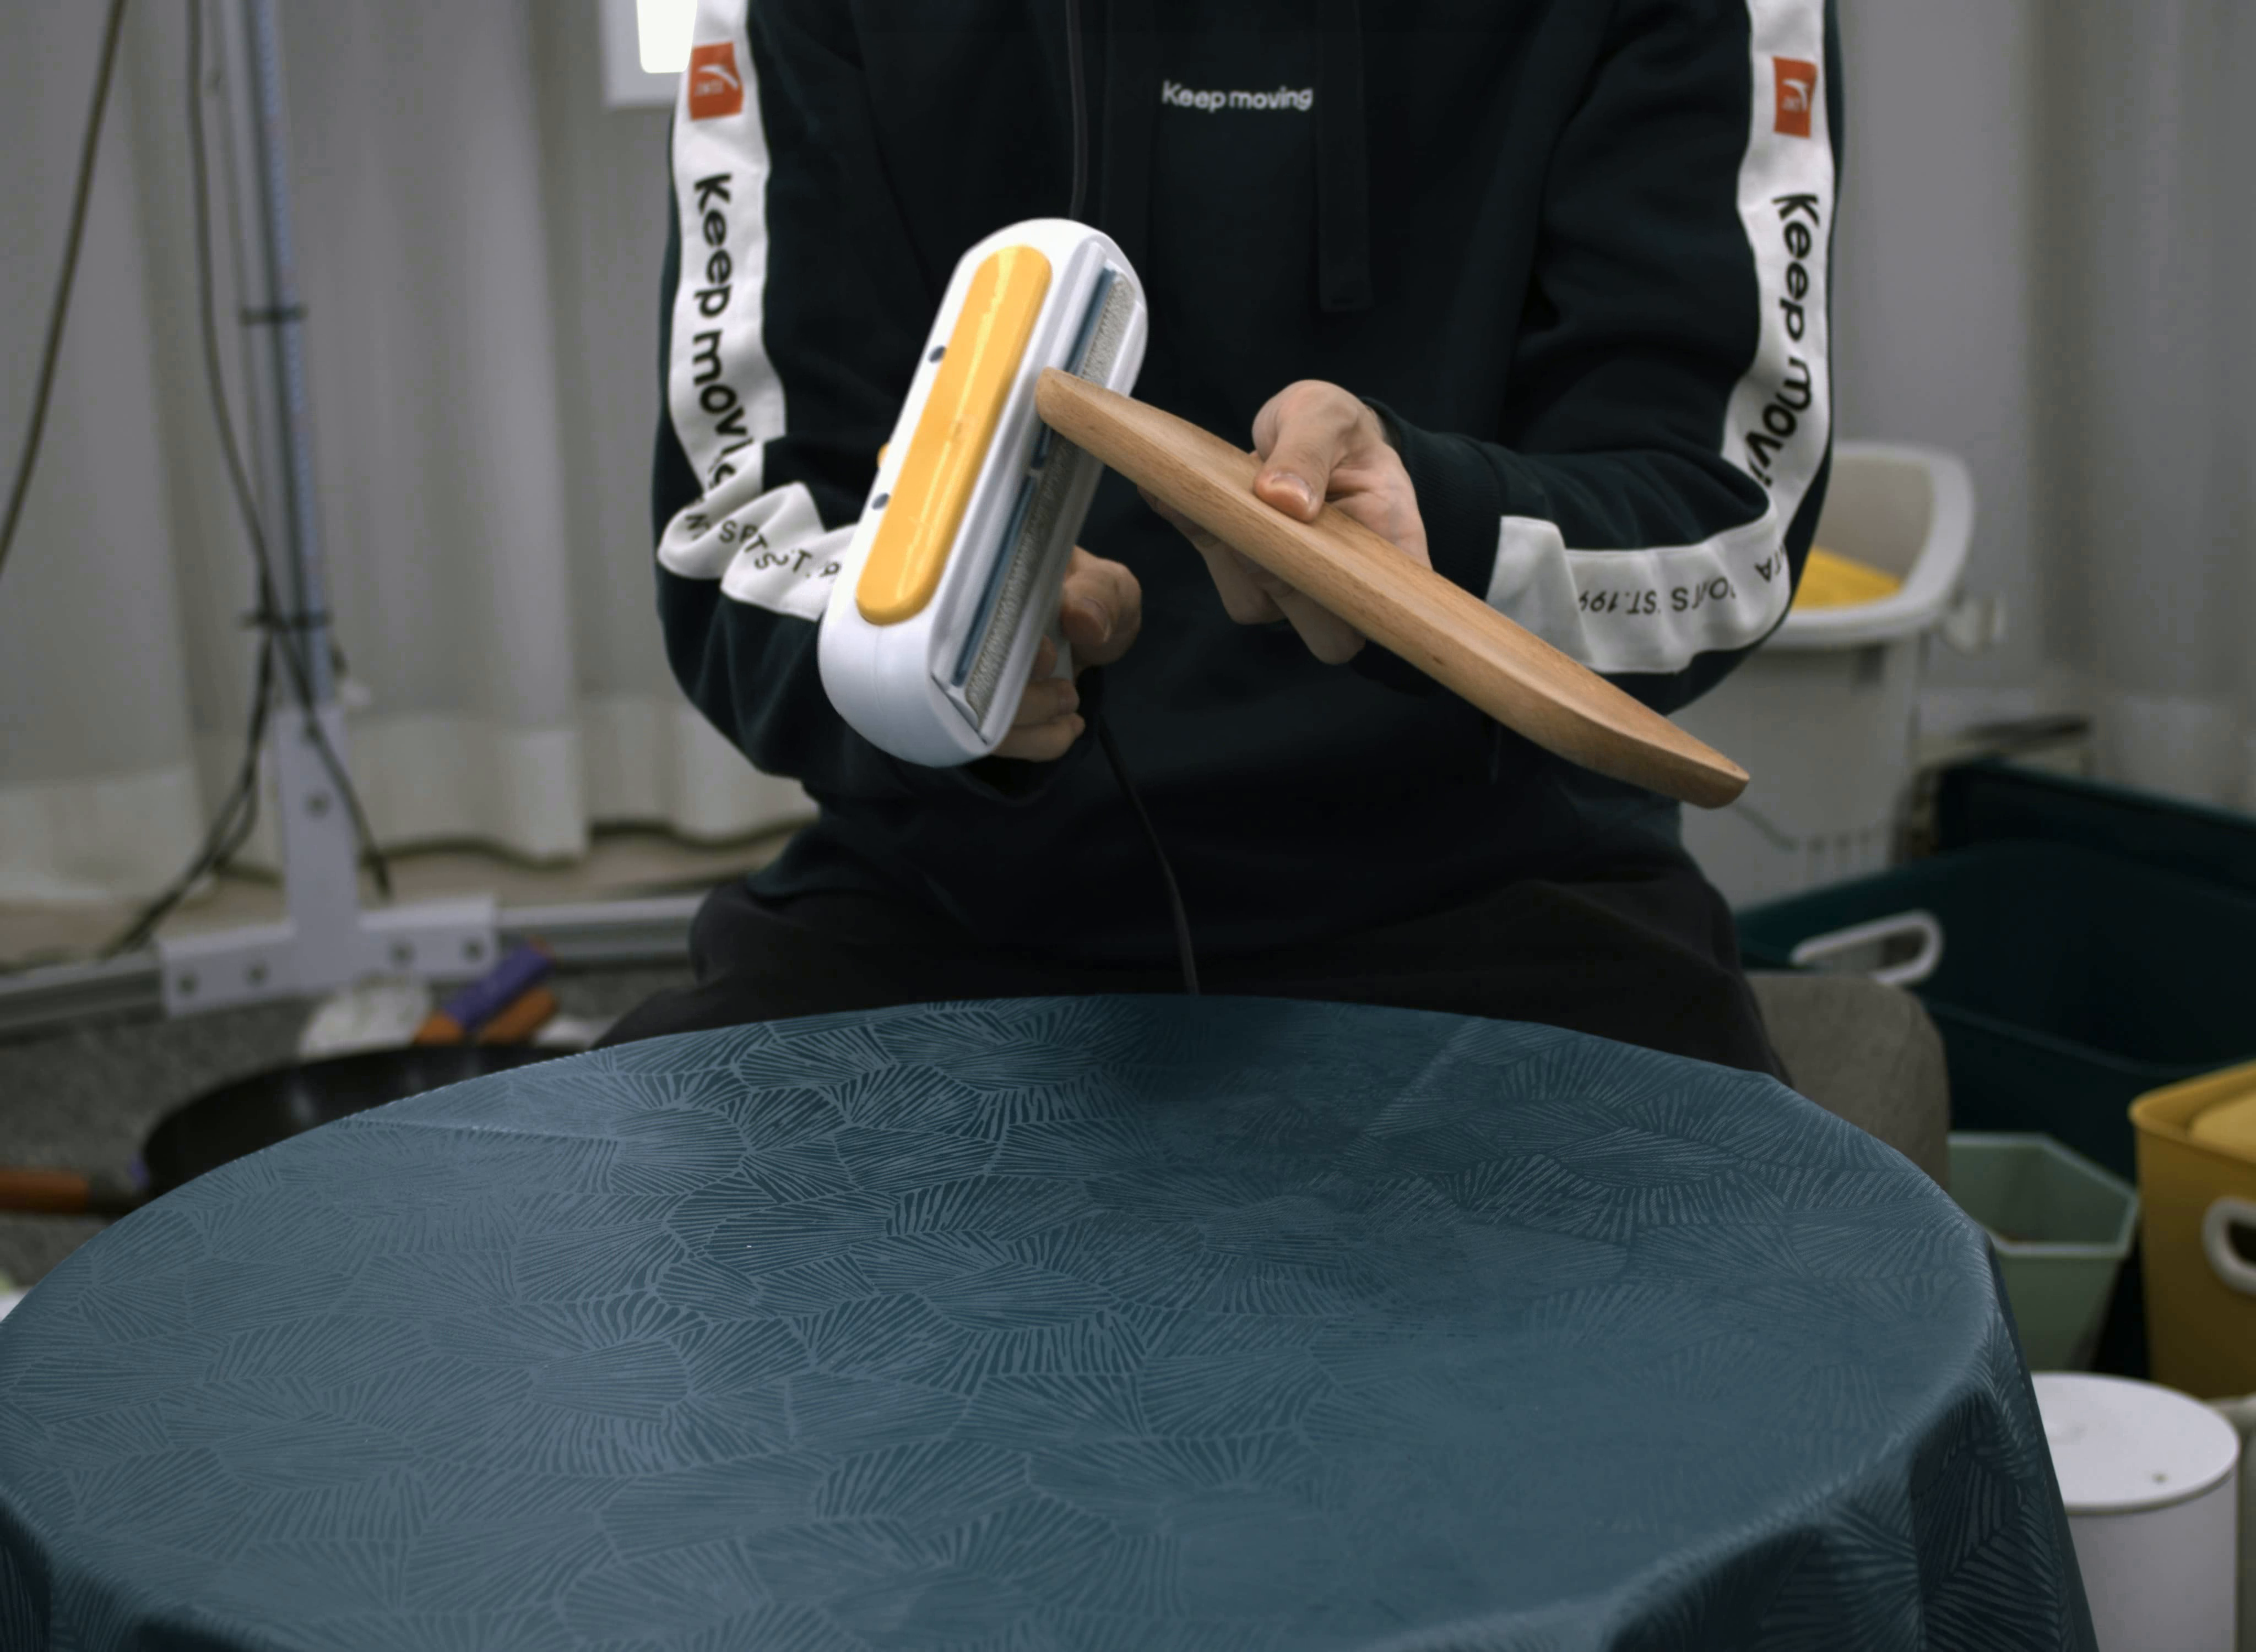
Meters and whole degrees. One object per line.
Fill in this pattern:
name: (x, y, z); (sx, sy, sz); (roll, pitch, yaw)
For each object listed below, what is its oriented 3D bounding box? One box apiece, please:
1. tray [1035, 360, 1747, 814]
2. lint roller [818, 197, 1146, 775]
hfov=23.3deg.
tray: (0.079, -0.075, 1.715); (0.253, 0.023, 0.129); (35, 8, 35)
lint roller: (-0.036, -0.084, 1.820); (0.074, 0.190, 0.195); (2, 56, 21)
